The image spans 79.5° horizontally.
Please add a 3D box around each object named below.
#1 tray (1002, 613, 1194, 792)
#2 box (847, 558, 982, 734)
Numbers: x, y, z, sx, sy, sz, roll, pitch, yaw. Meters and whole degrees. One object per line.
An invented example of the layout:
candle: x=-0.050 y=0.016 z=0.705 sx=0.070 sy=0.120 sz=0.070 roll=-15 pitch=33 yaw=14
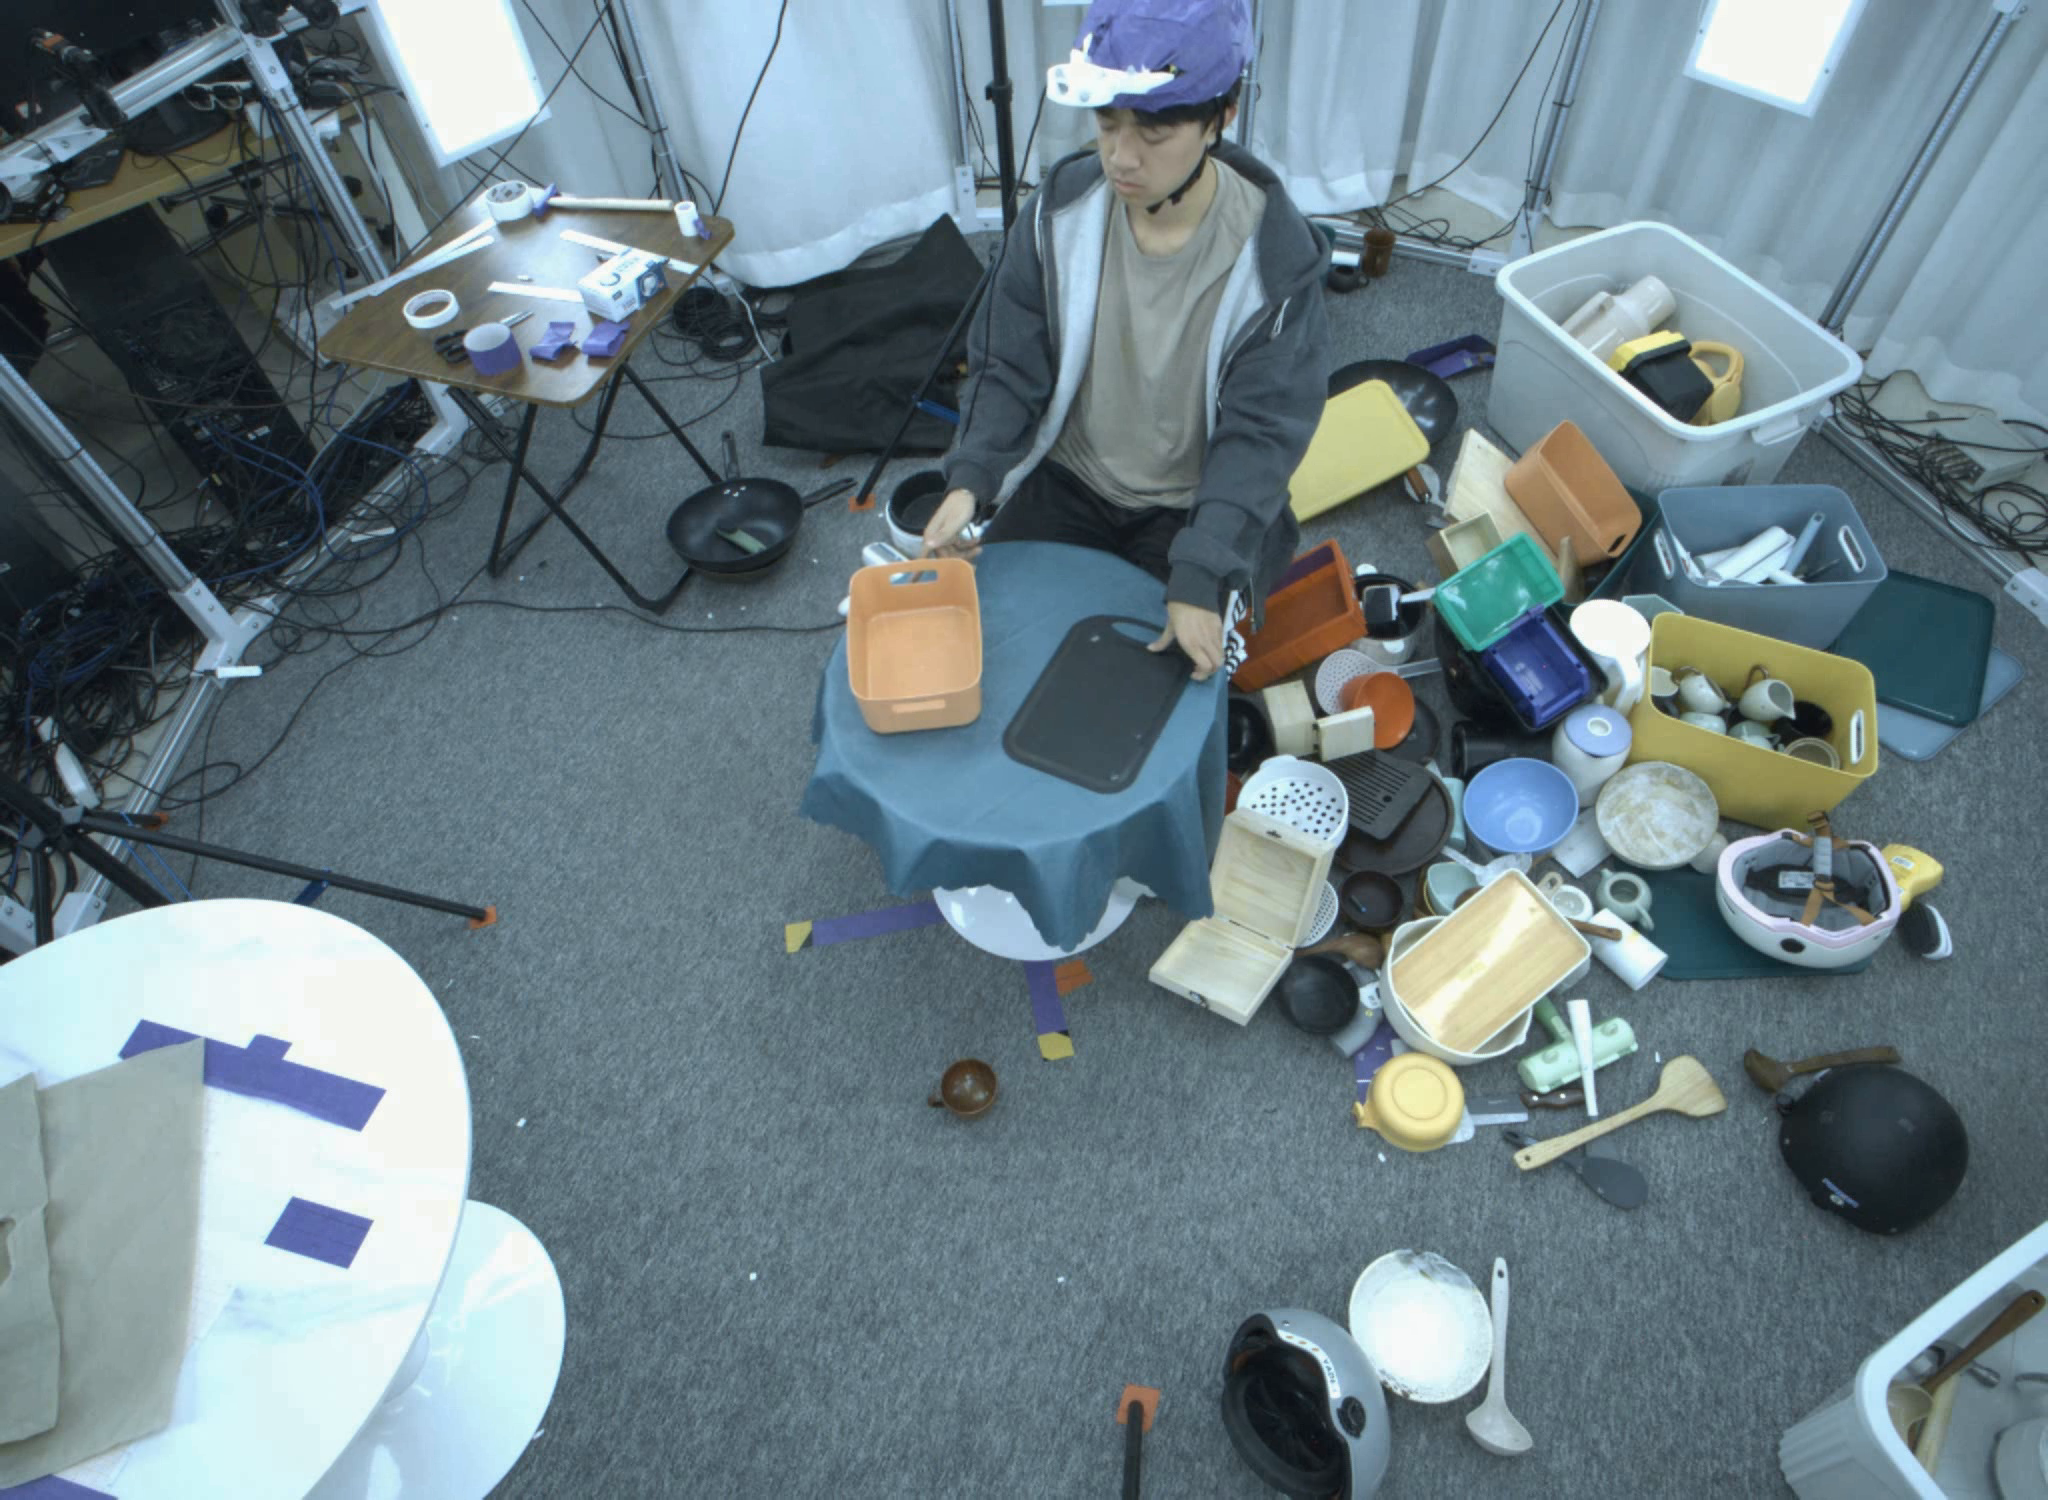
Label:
tray: x=0.117 y=-0.084 z=1.842 sx=0.208 sy=0.010 sz=0.326 roll=22 pitch=58 yaw=16
box: x=-0.159 y=-0.154 z=1.841 sx=0.200 sy=0.104 sz=0.269 roll=-6 pitch=55 yaw=-2
